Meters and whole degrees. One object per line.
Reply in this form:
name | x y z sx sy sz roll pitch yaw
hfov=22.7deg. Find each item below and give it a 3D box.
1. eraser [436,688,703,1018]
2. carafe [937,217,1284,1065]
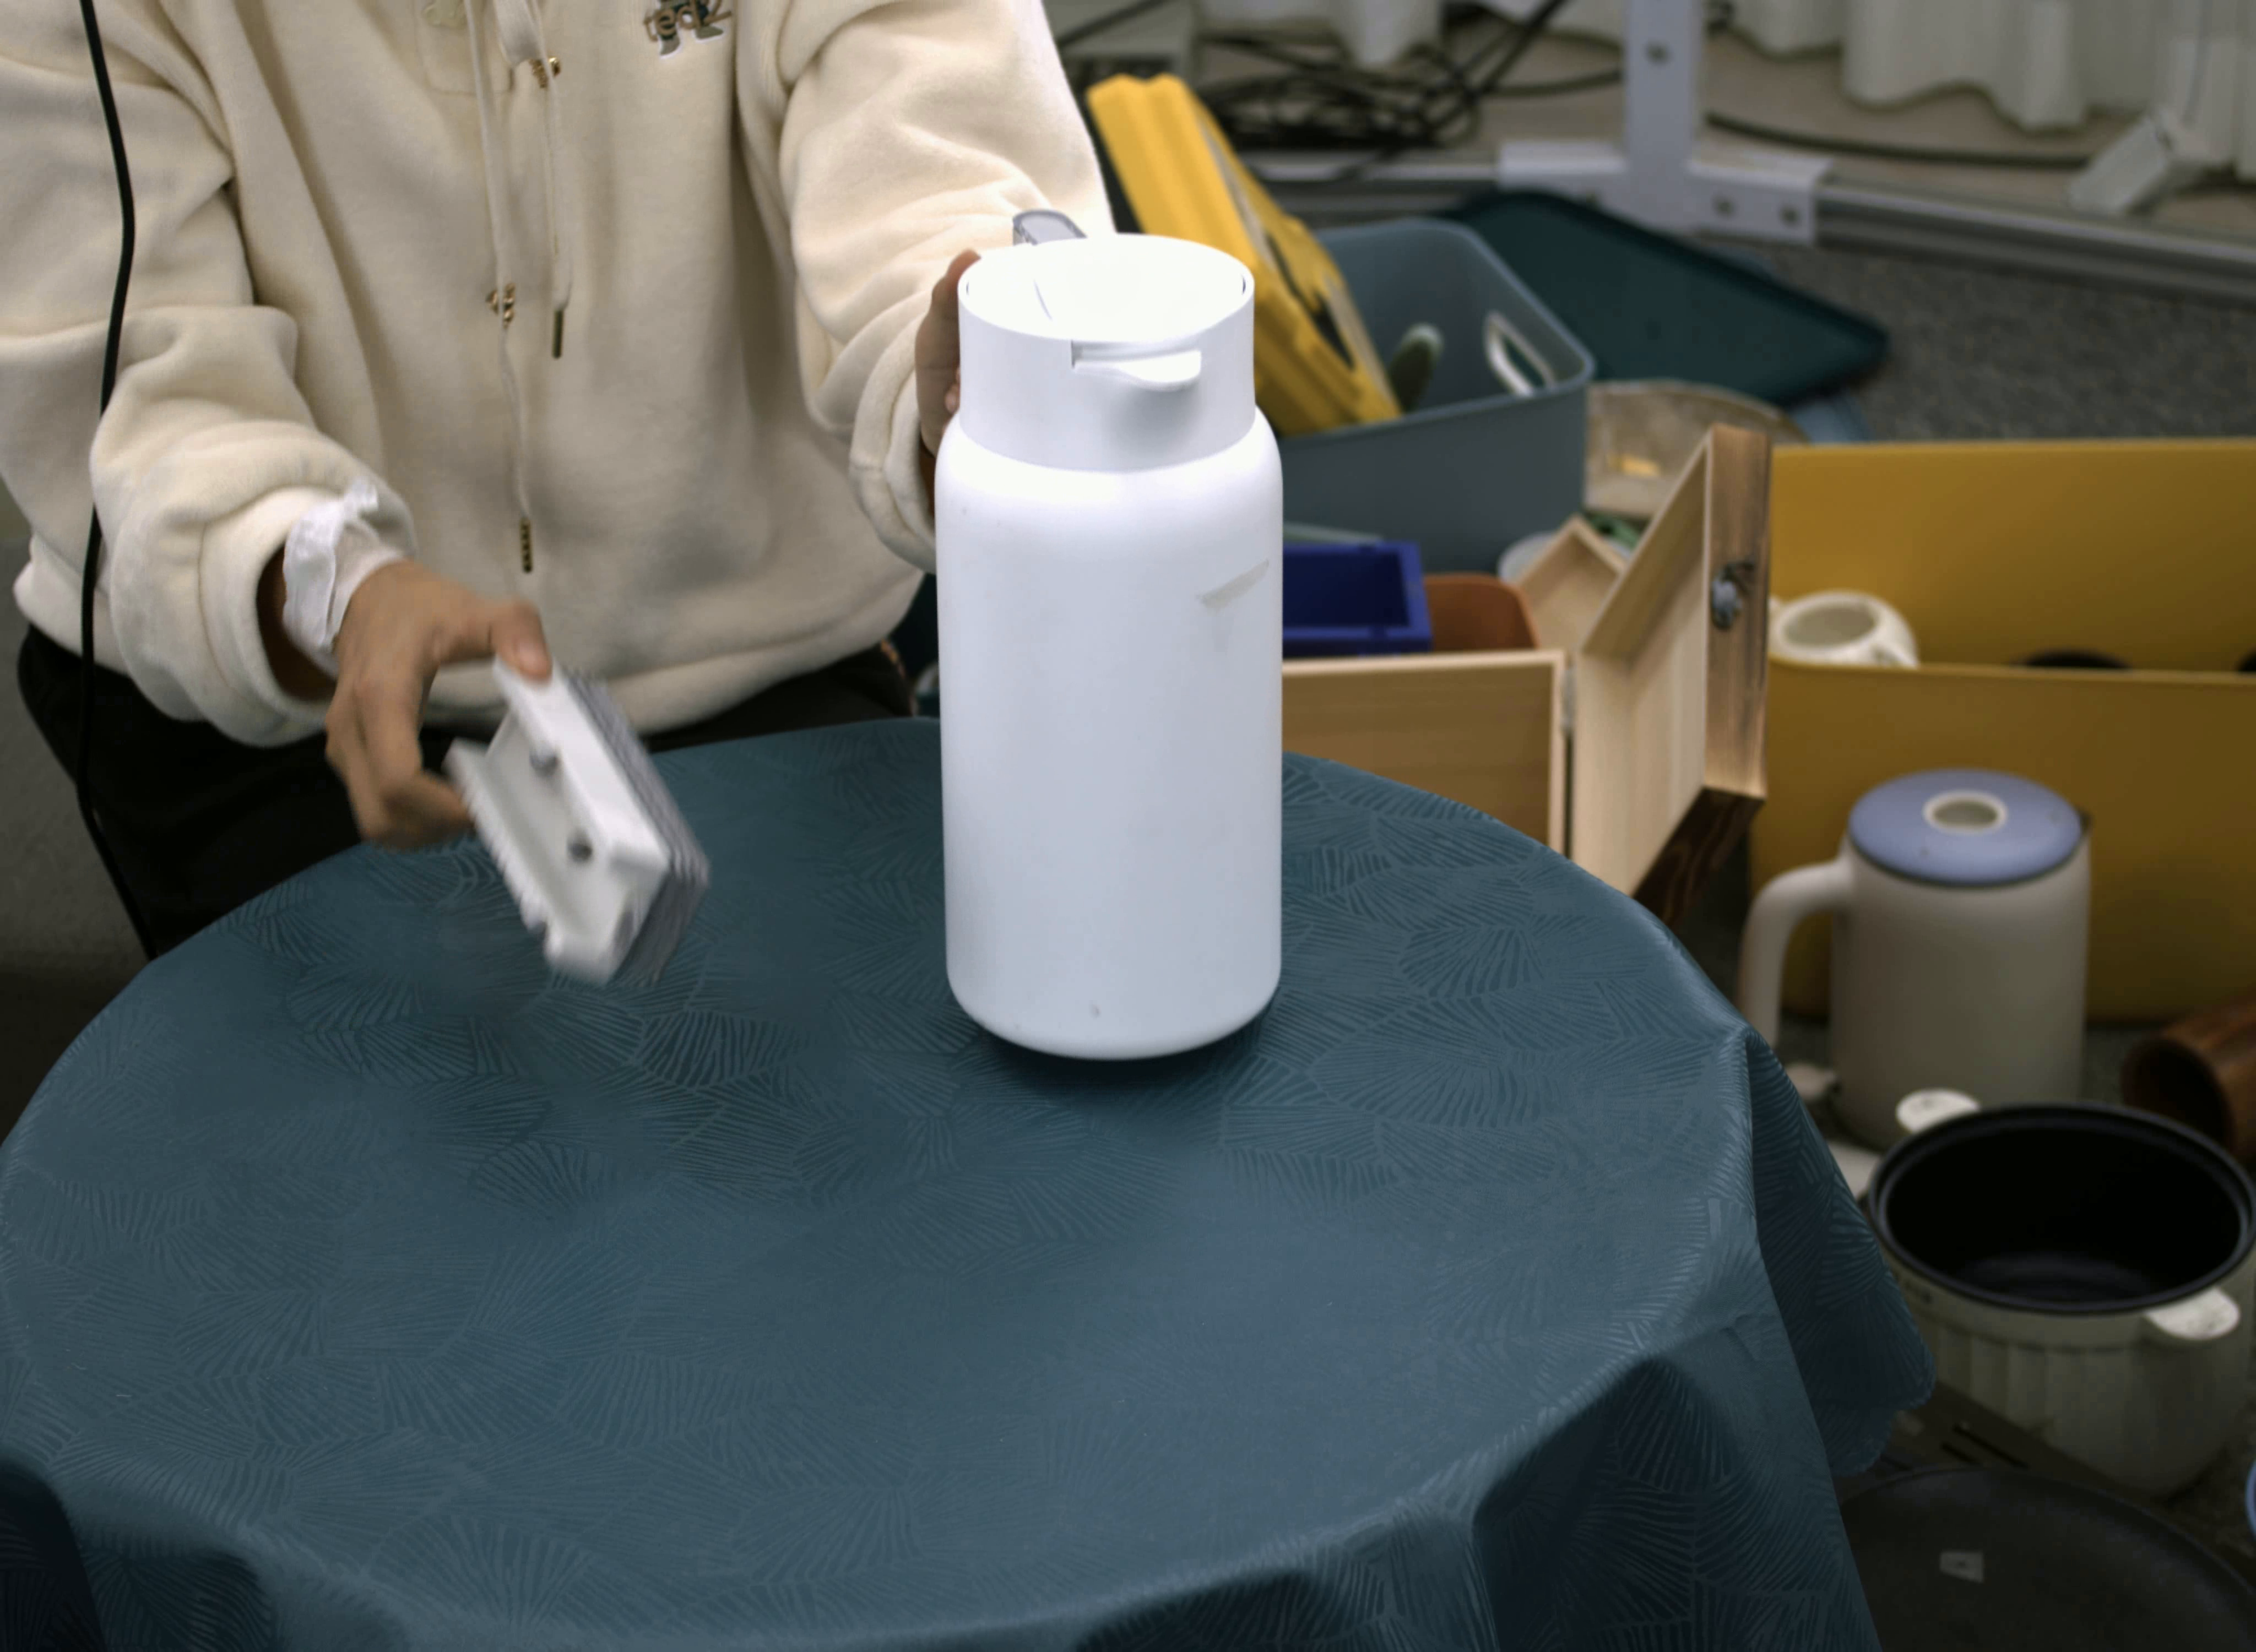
eraser | -0.192 0.009 1.929 0.046 0.049 0.135 18 20 -33
carafe | -0.012 -0.067 1.925 0.124 0.266 0.174 -11 27 -16
